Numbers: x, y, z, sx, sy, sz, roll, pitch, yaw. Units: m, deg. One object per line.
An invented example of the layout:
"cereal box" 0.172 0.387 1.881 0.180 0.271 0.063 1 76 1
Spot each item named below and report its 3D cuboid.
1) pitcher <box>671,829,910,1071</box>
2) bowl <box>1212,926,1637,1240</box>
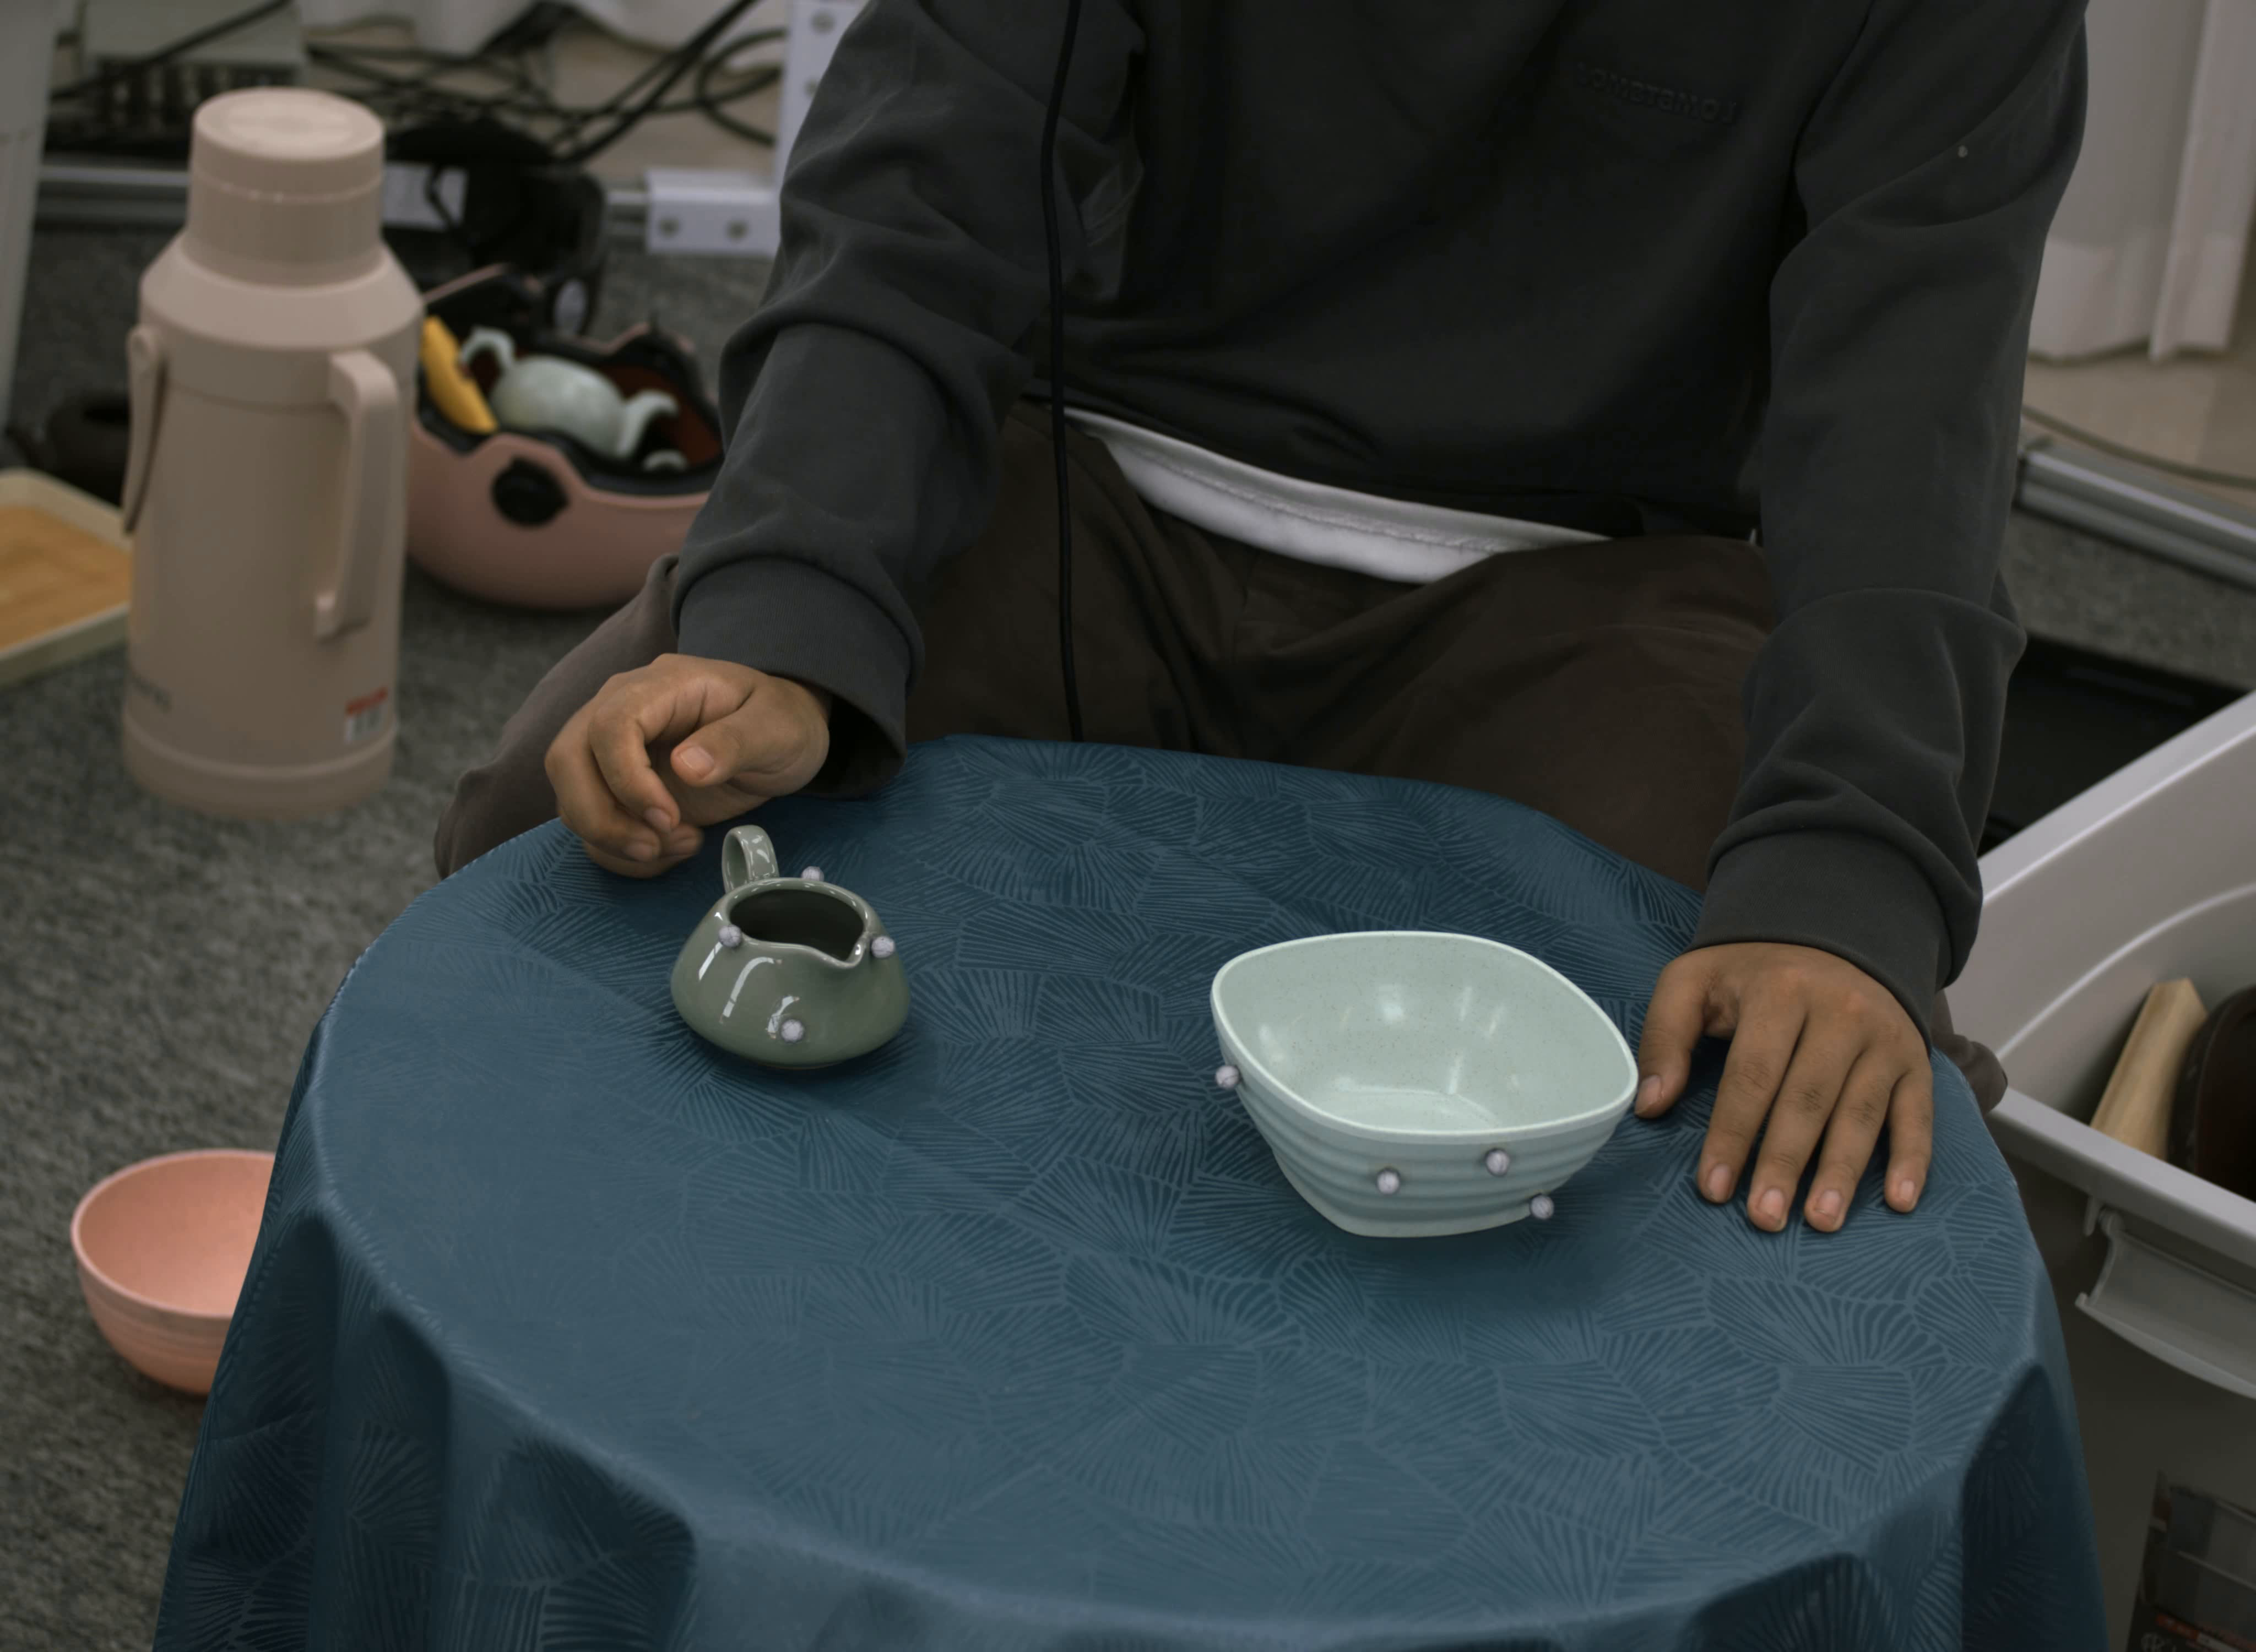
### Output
"pitcher" -0.120 0.046 1.871 0.083 0.056 0.113 -6 29 -25
"bowl" 0.098 0.094 1.827 0.151 0.058 0.152 5 28 -3
